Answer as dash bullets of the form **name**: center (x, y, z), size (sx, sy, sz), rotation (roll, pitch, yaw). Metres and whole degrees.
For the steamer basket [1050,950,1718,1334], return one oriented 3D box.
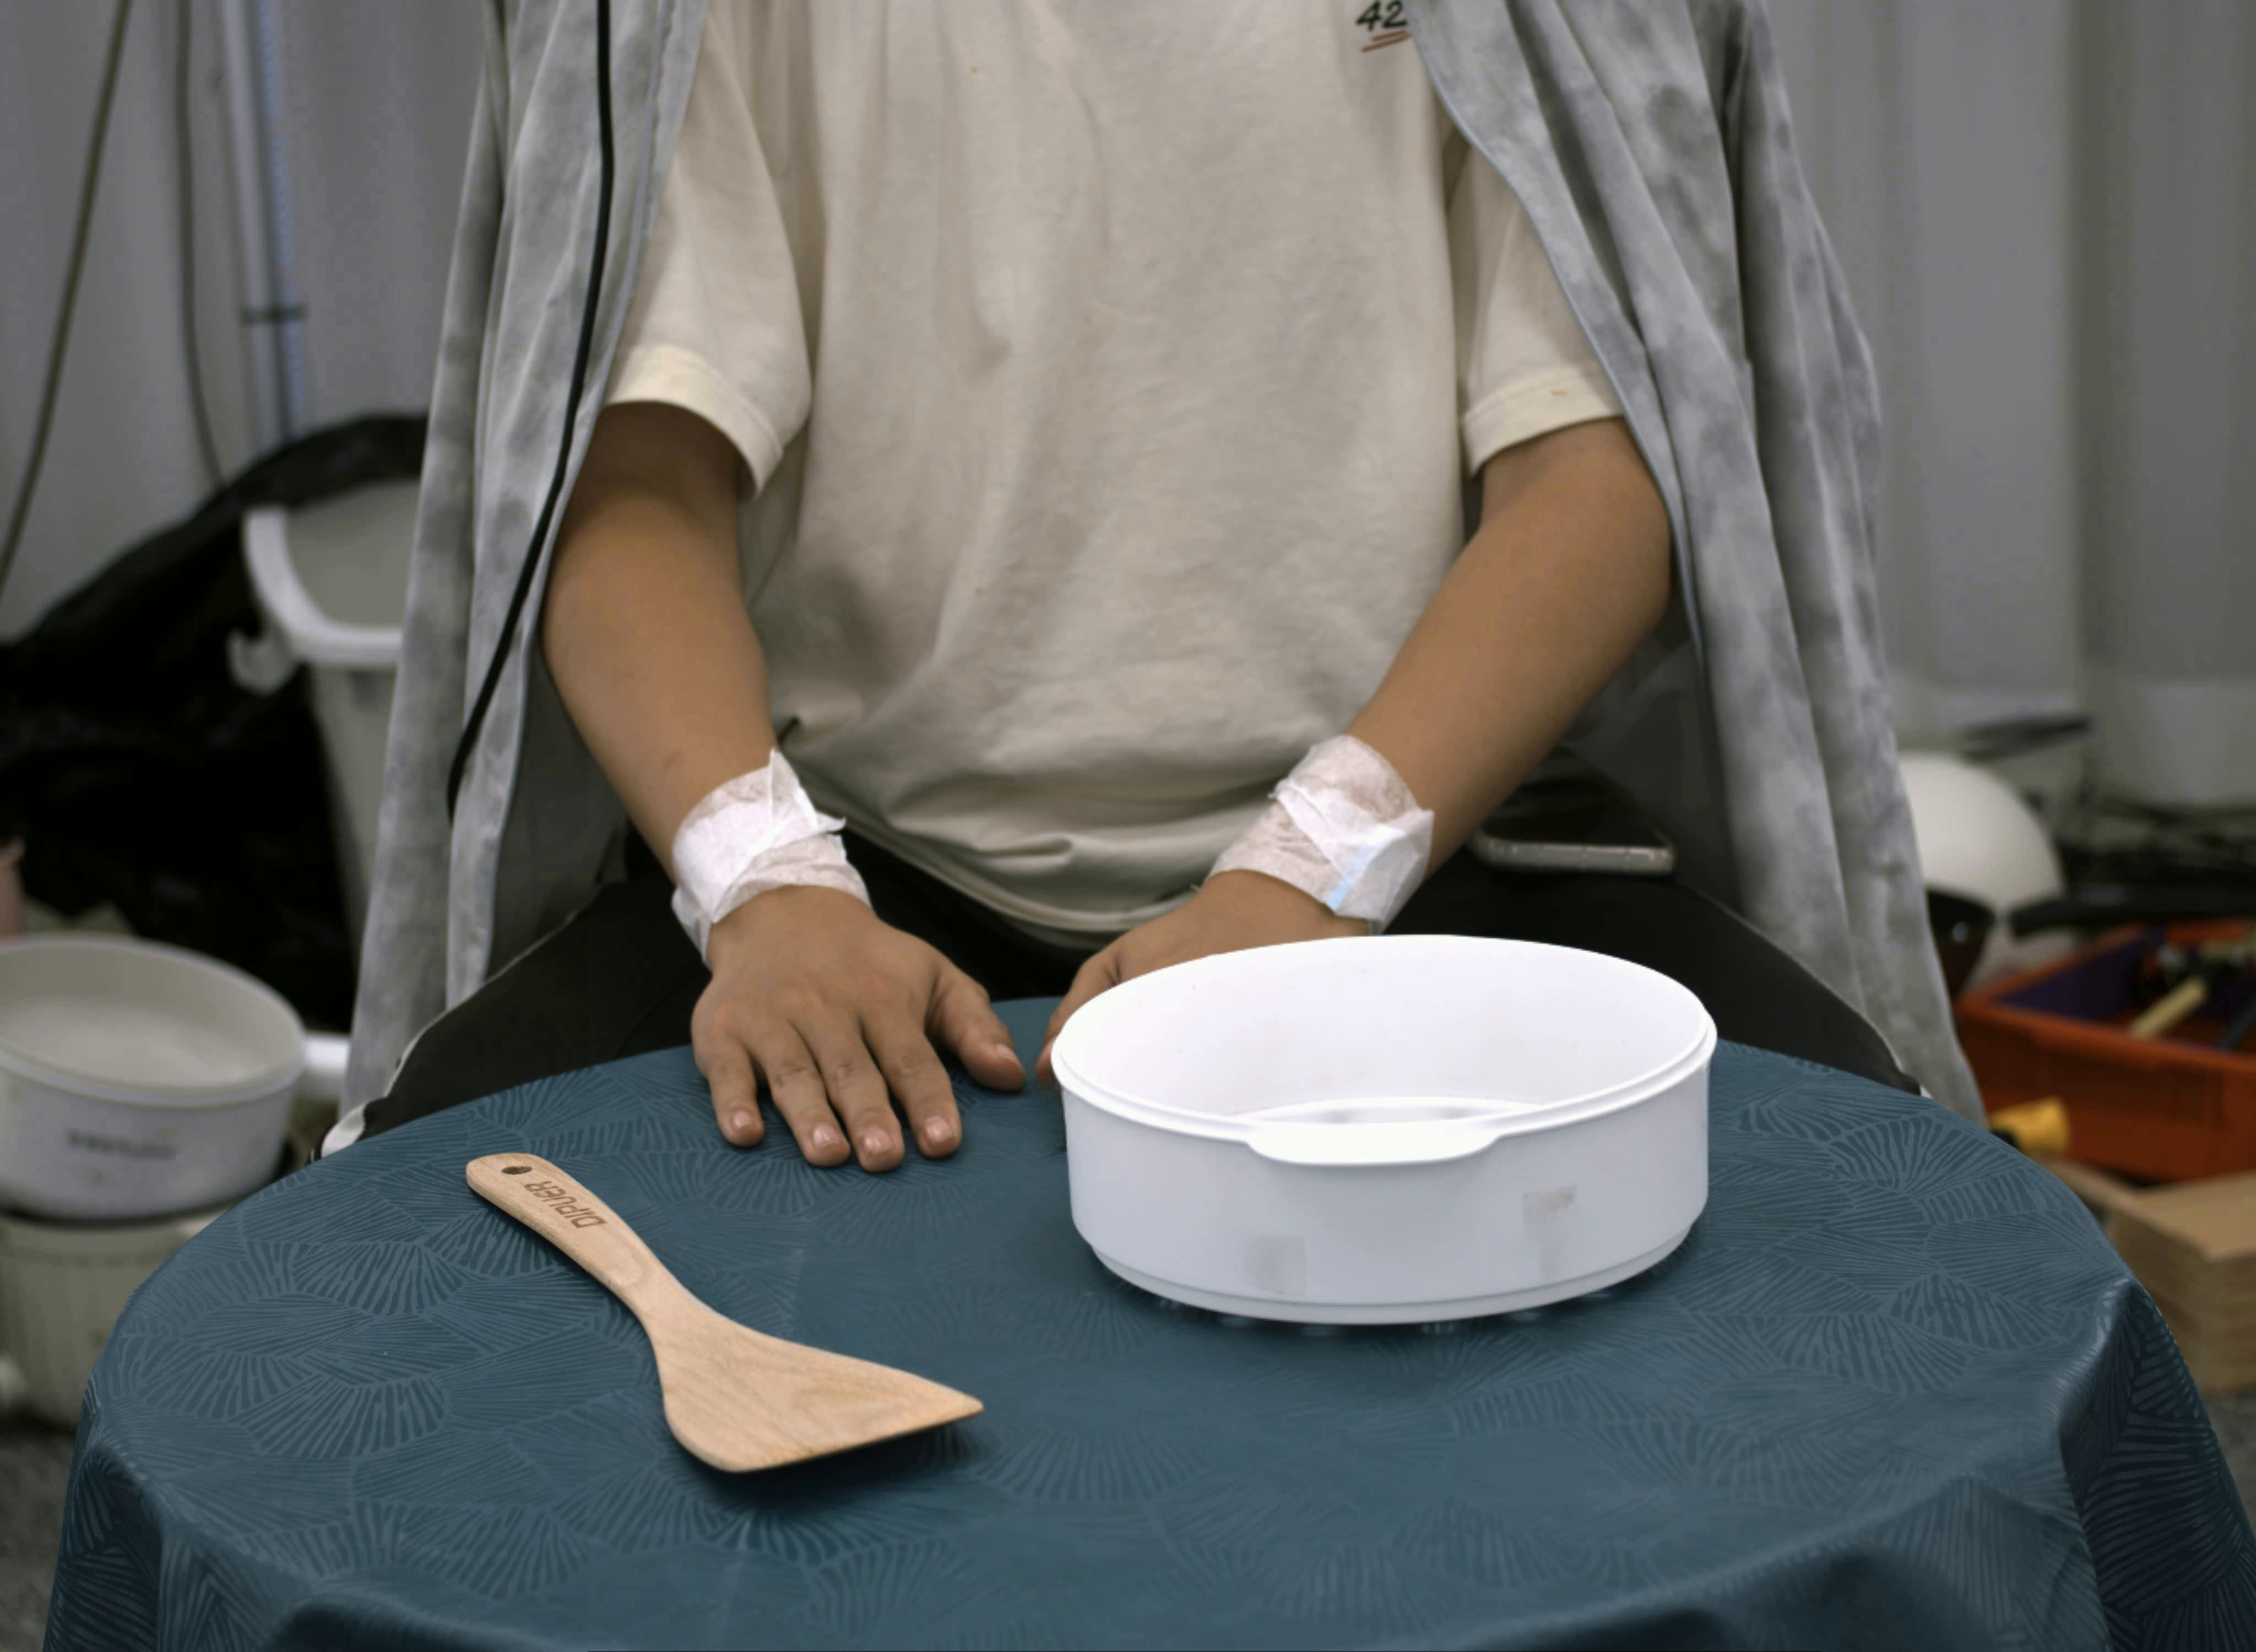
- **steamer basket**: center (0.077, 0.095, 1.653), size (0.201, 0.069, 0.232), rotation (0, 14, 5)

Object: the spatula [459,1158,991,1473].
- **spatula**: center (-0.135, 0.140, 1.618), size (0.079, 0.016, 0.330), rotation (-9, 16, -24)
